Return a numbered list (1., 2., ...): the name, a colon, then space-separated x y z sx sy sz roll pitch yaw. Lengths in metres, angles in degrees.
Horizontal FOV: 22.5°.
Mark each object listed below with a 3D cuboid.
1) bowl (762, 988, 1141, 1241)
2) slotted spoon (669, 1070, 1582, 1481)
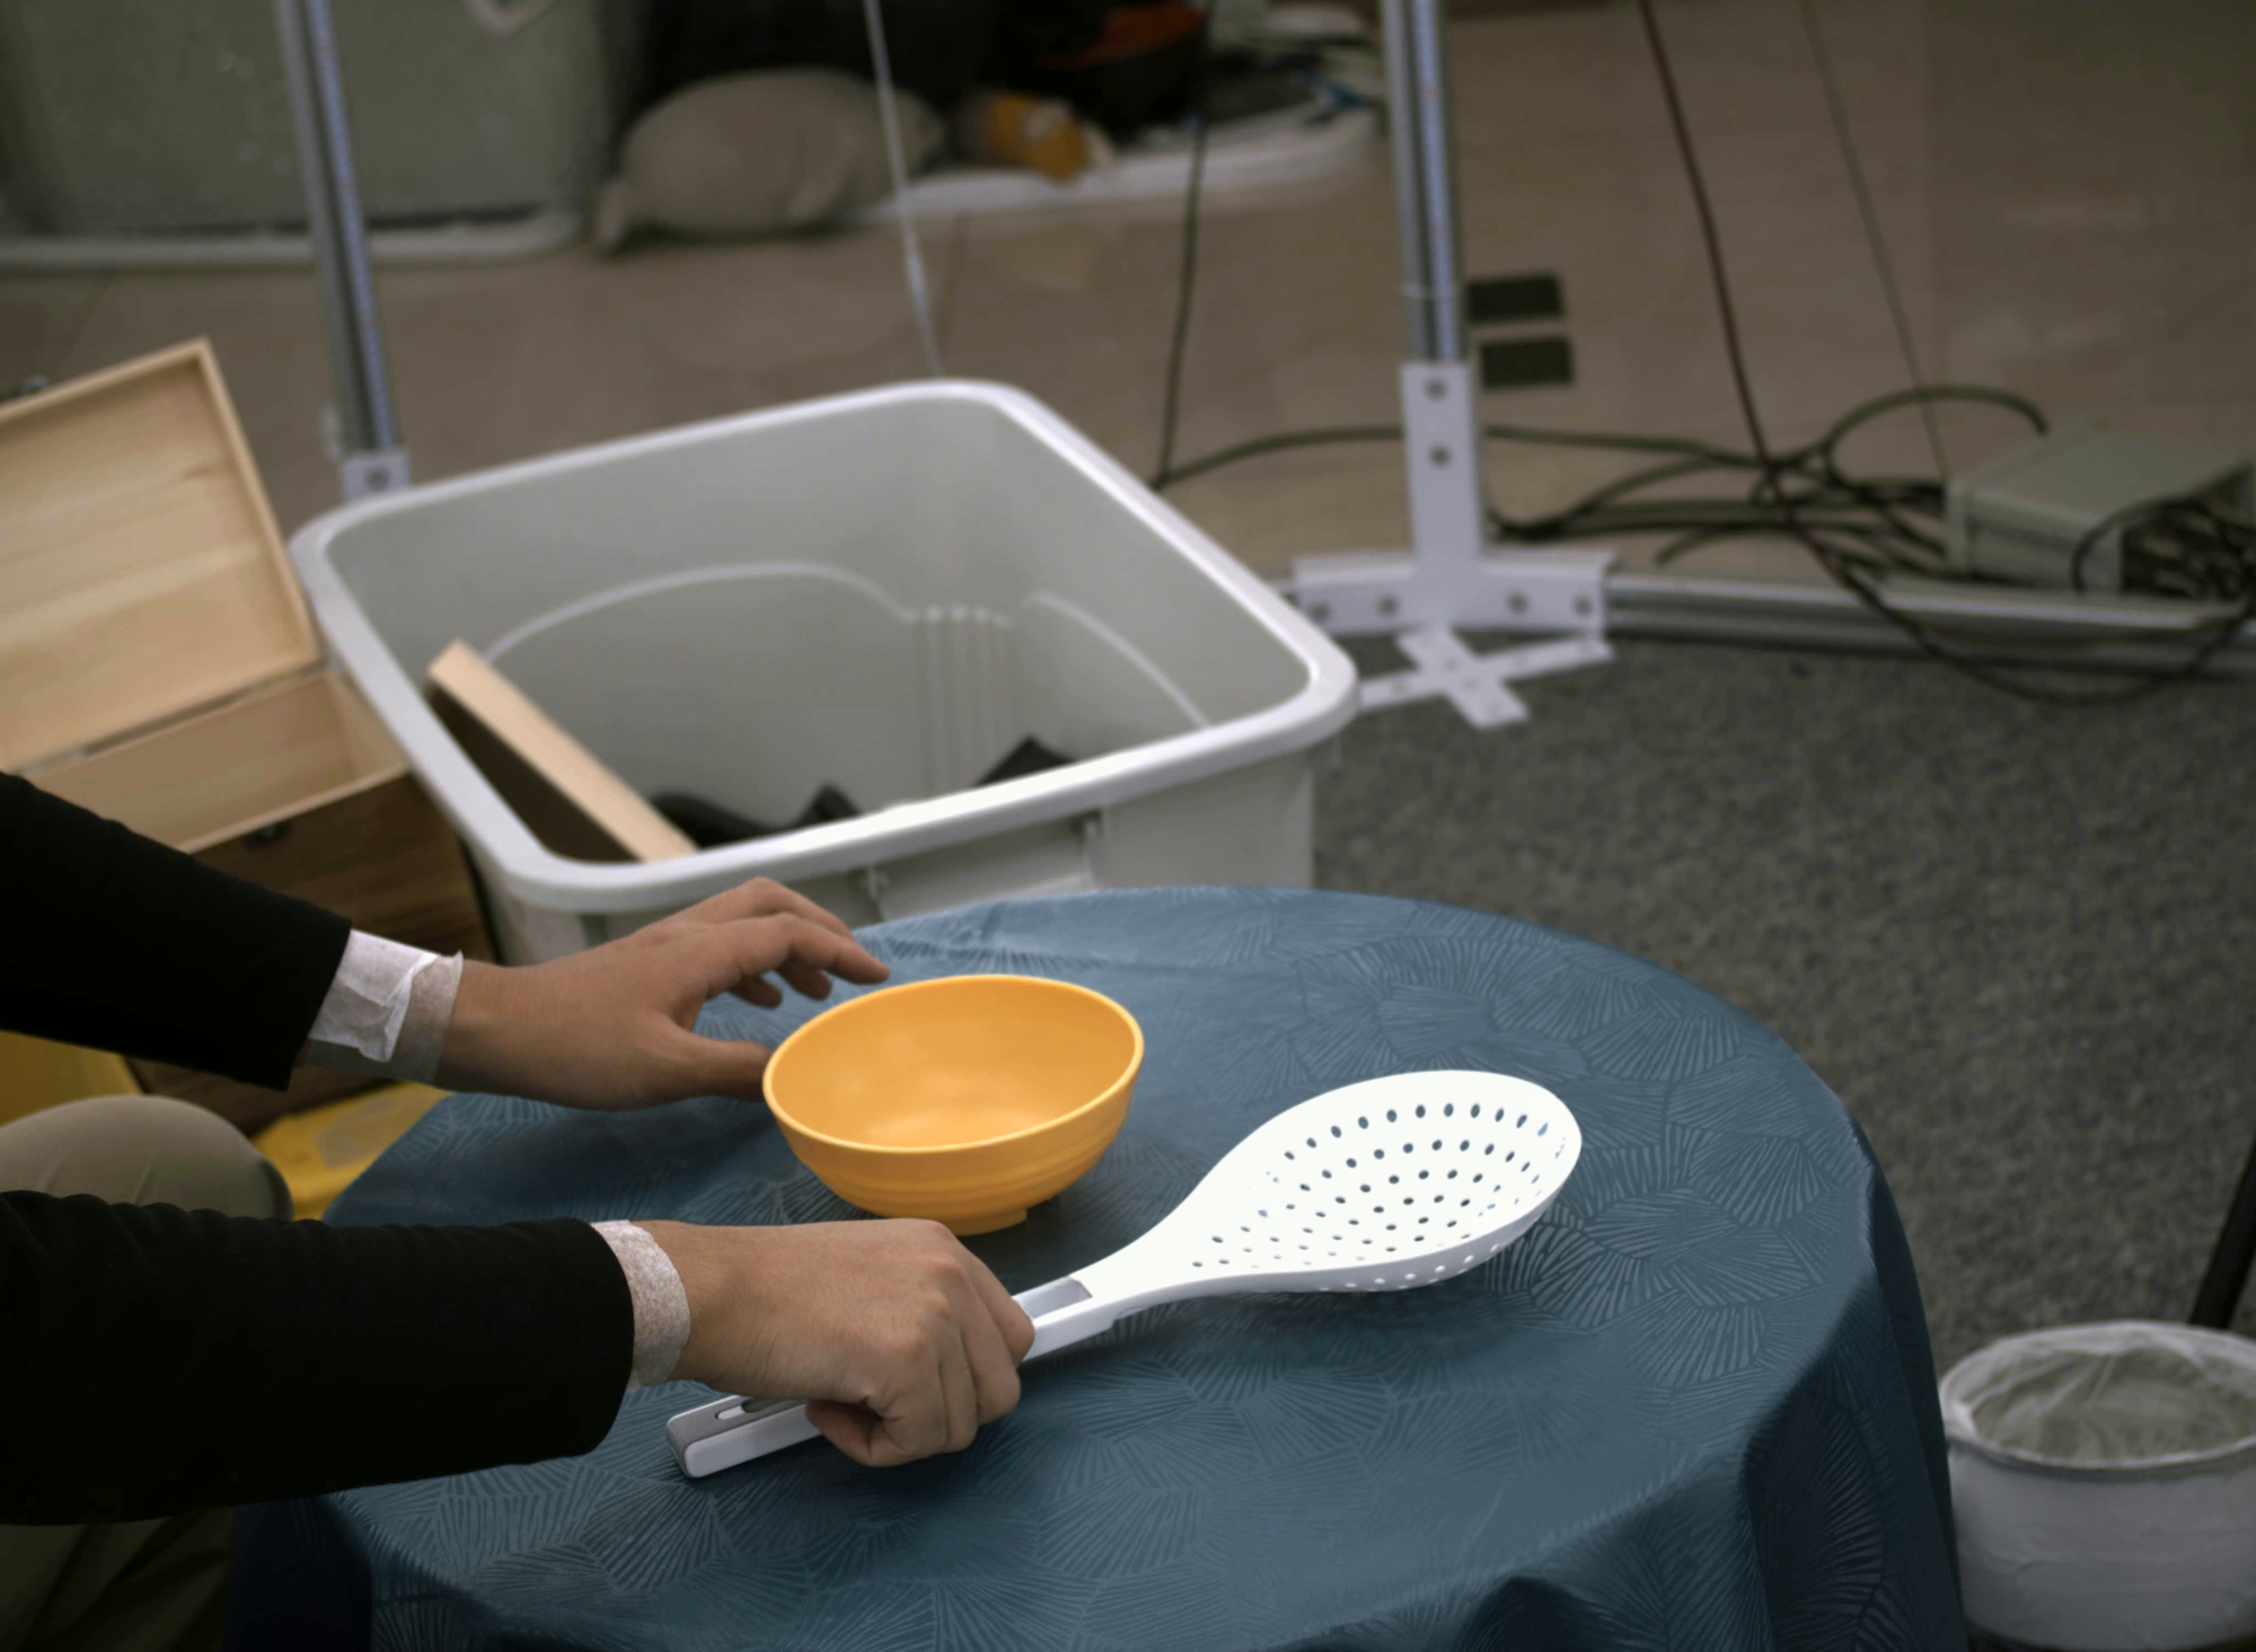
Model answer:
1. bowl: -0.064 0.117 2.146 0.145 0.061 0.143 -5 23 2
2. slotted spoon: 0.001 0.165 2.038 0.348 0.046 0.134 -15 25 -16
